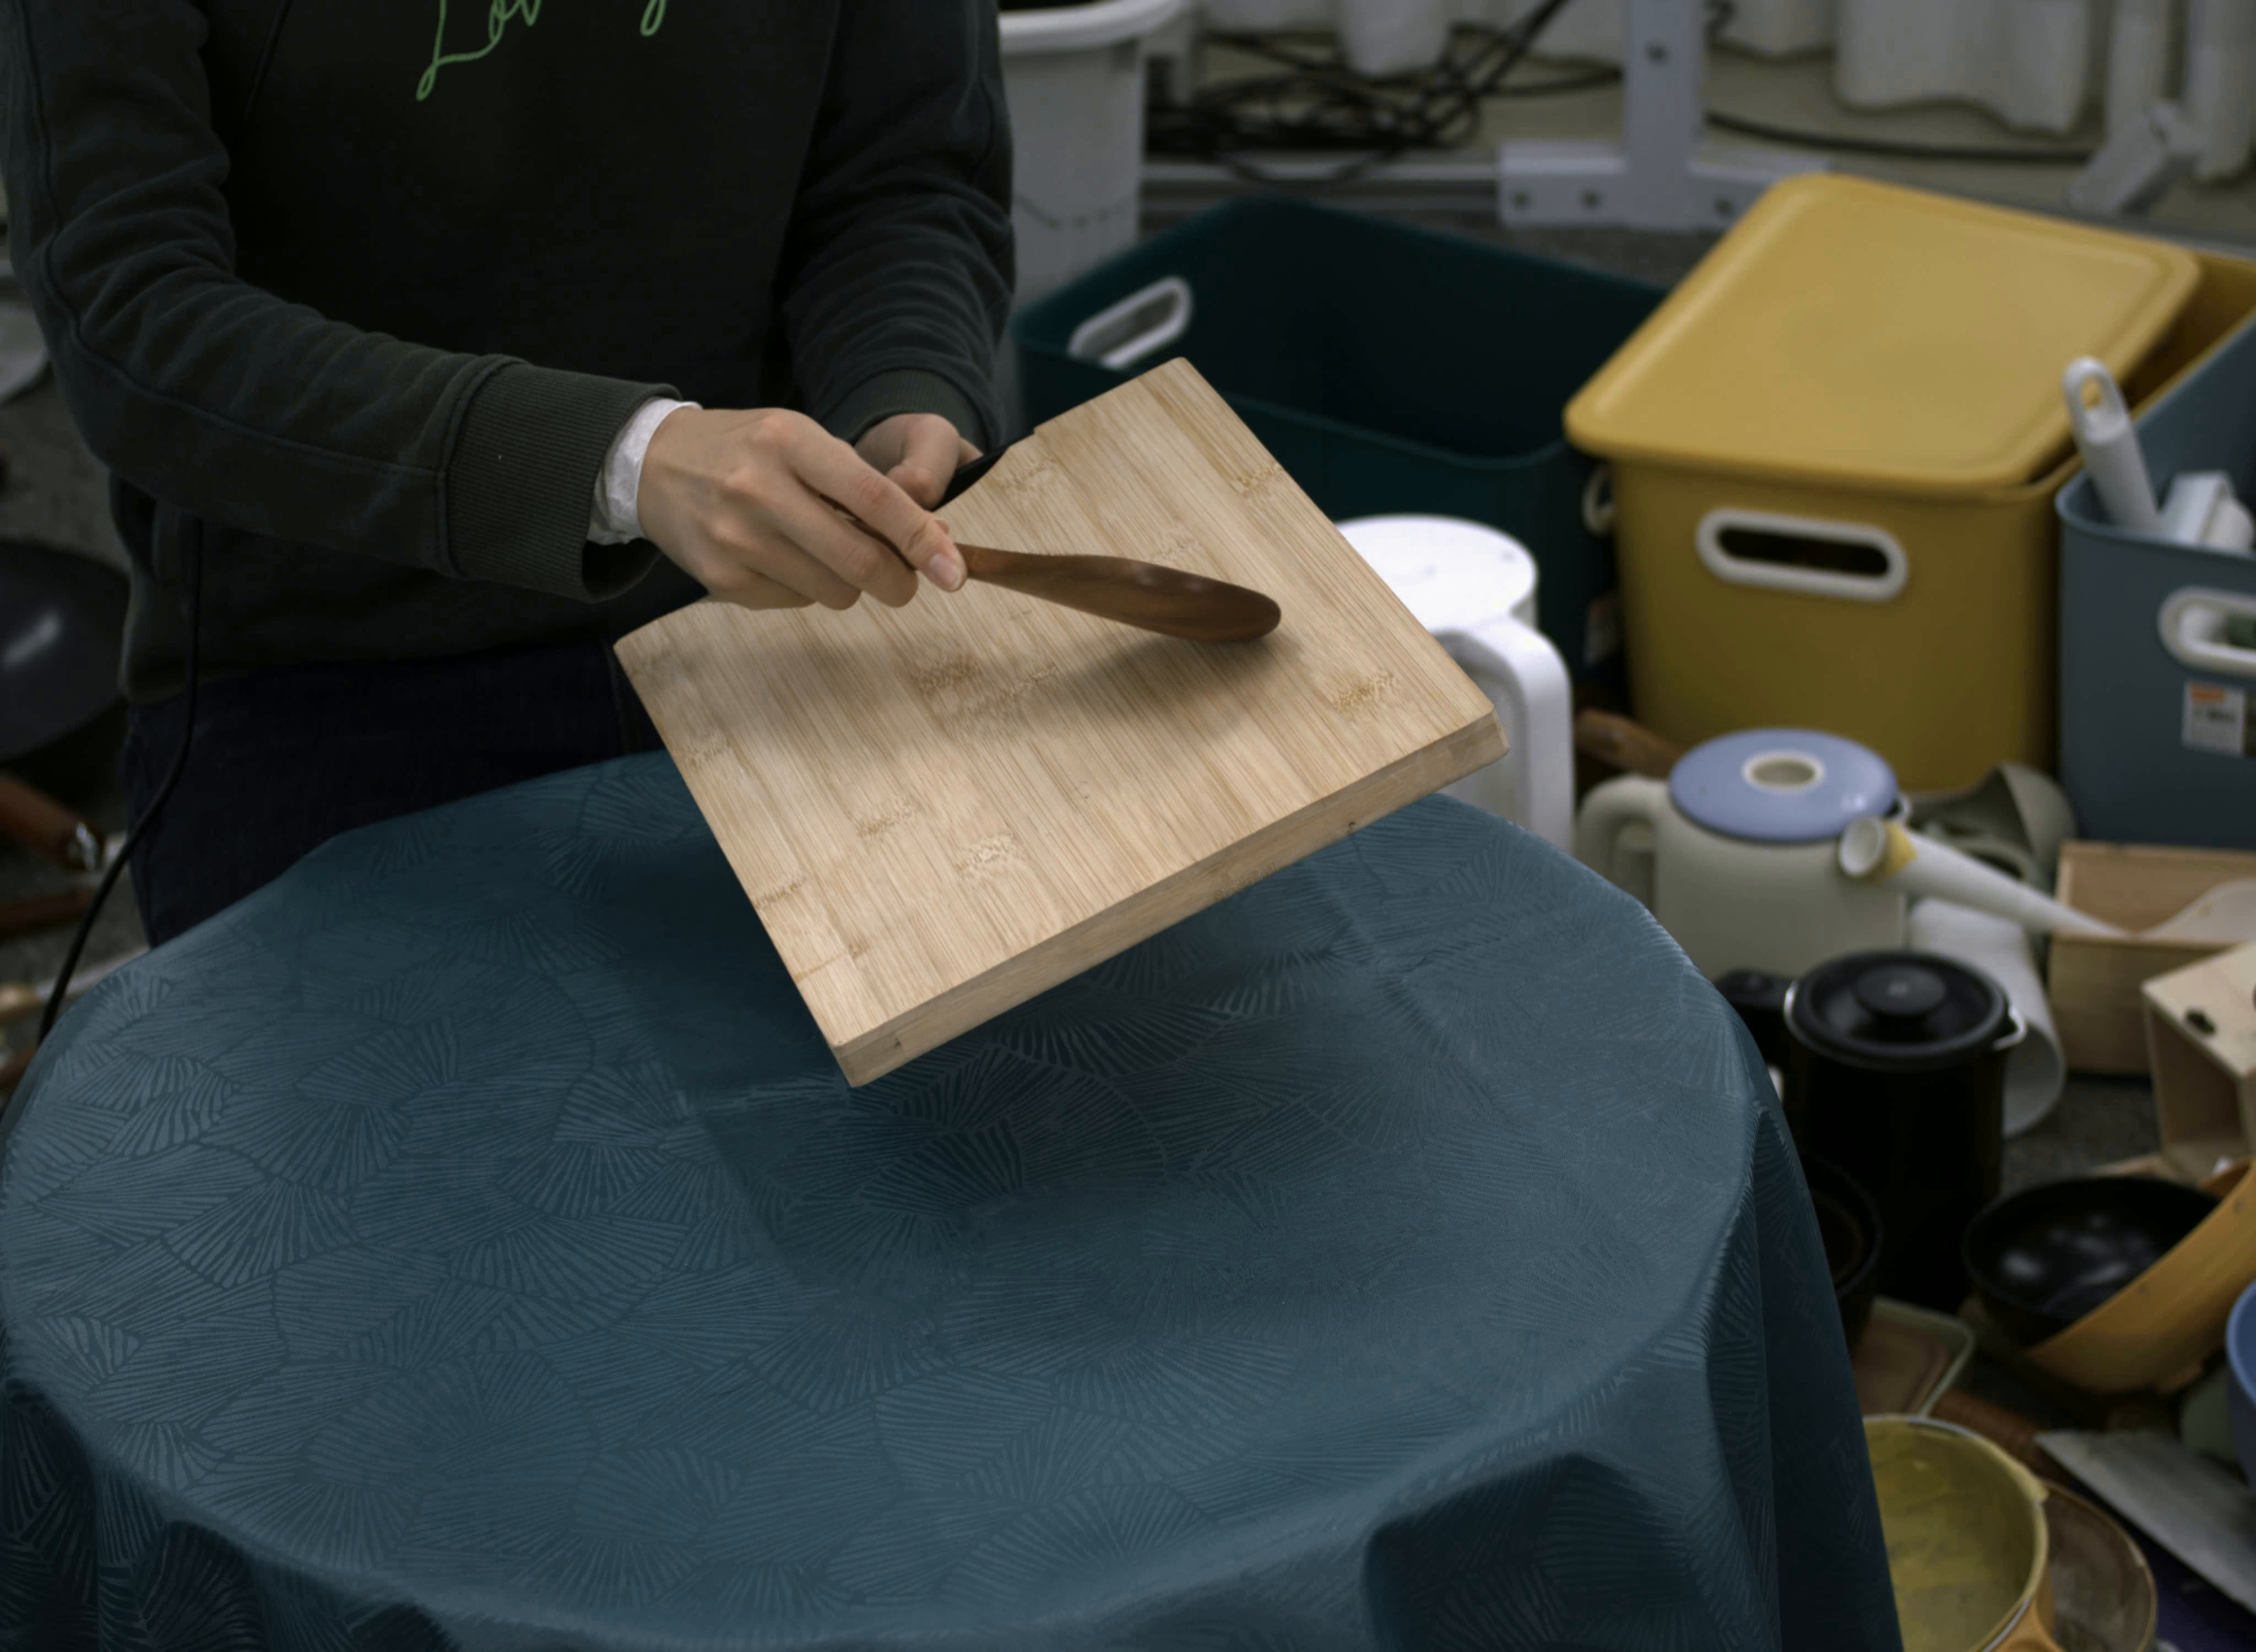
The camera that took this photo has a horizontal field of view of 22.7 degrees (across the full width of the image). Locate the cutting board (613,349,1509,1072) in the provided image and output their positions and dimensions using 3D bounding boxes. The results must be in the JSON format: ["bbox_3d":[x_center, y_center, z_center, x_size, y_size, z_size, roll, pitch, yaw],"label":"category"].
[{"bbox_3d":[-0.033,-0.048,1.949,0.251,0.023,0.351,-27,29,-7],"label":"cutting board"}]

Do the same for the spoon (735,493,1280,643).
[{"bbox_3d":[-0.045,-0.087,1.918,0.214,0.017,0.075,13,-3,31],"label":"spoon"}]
